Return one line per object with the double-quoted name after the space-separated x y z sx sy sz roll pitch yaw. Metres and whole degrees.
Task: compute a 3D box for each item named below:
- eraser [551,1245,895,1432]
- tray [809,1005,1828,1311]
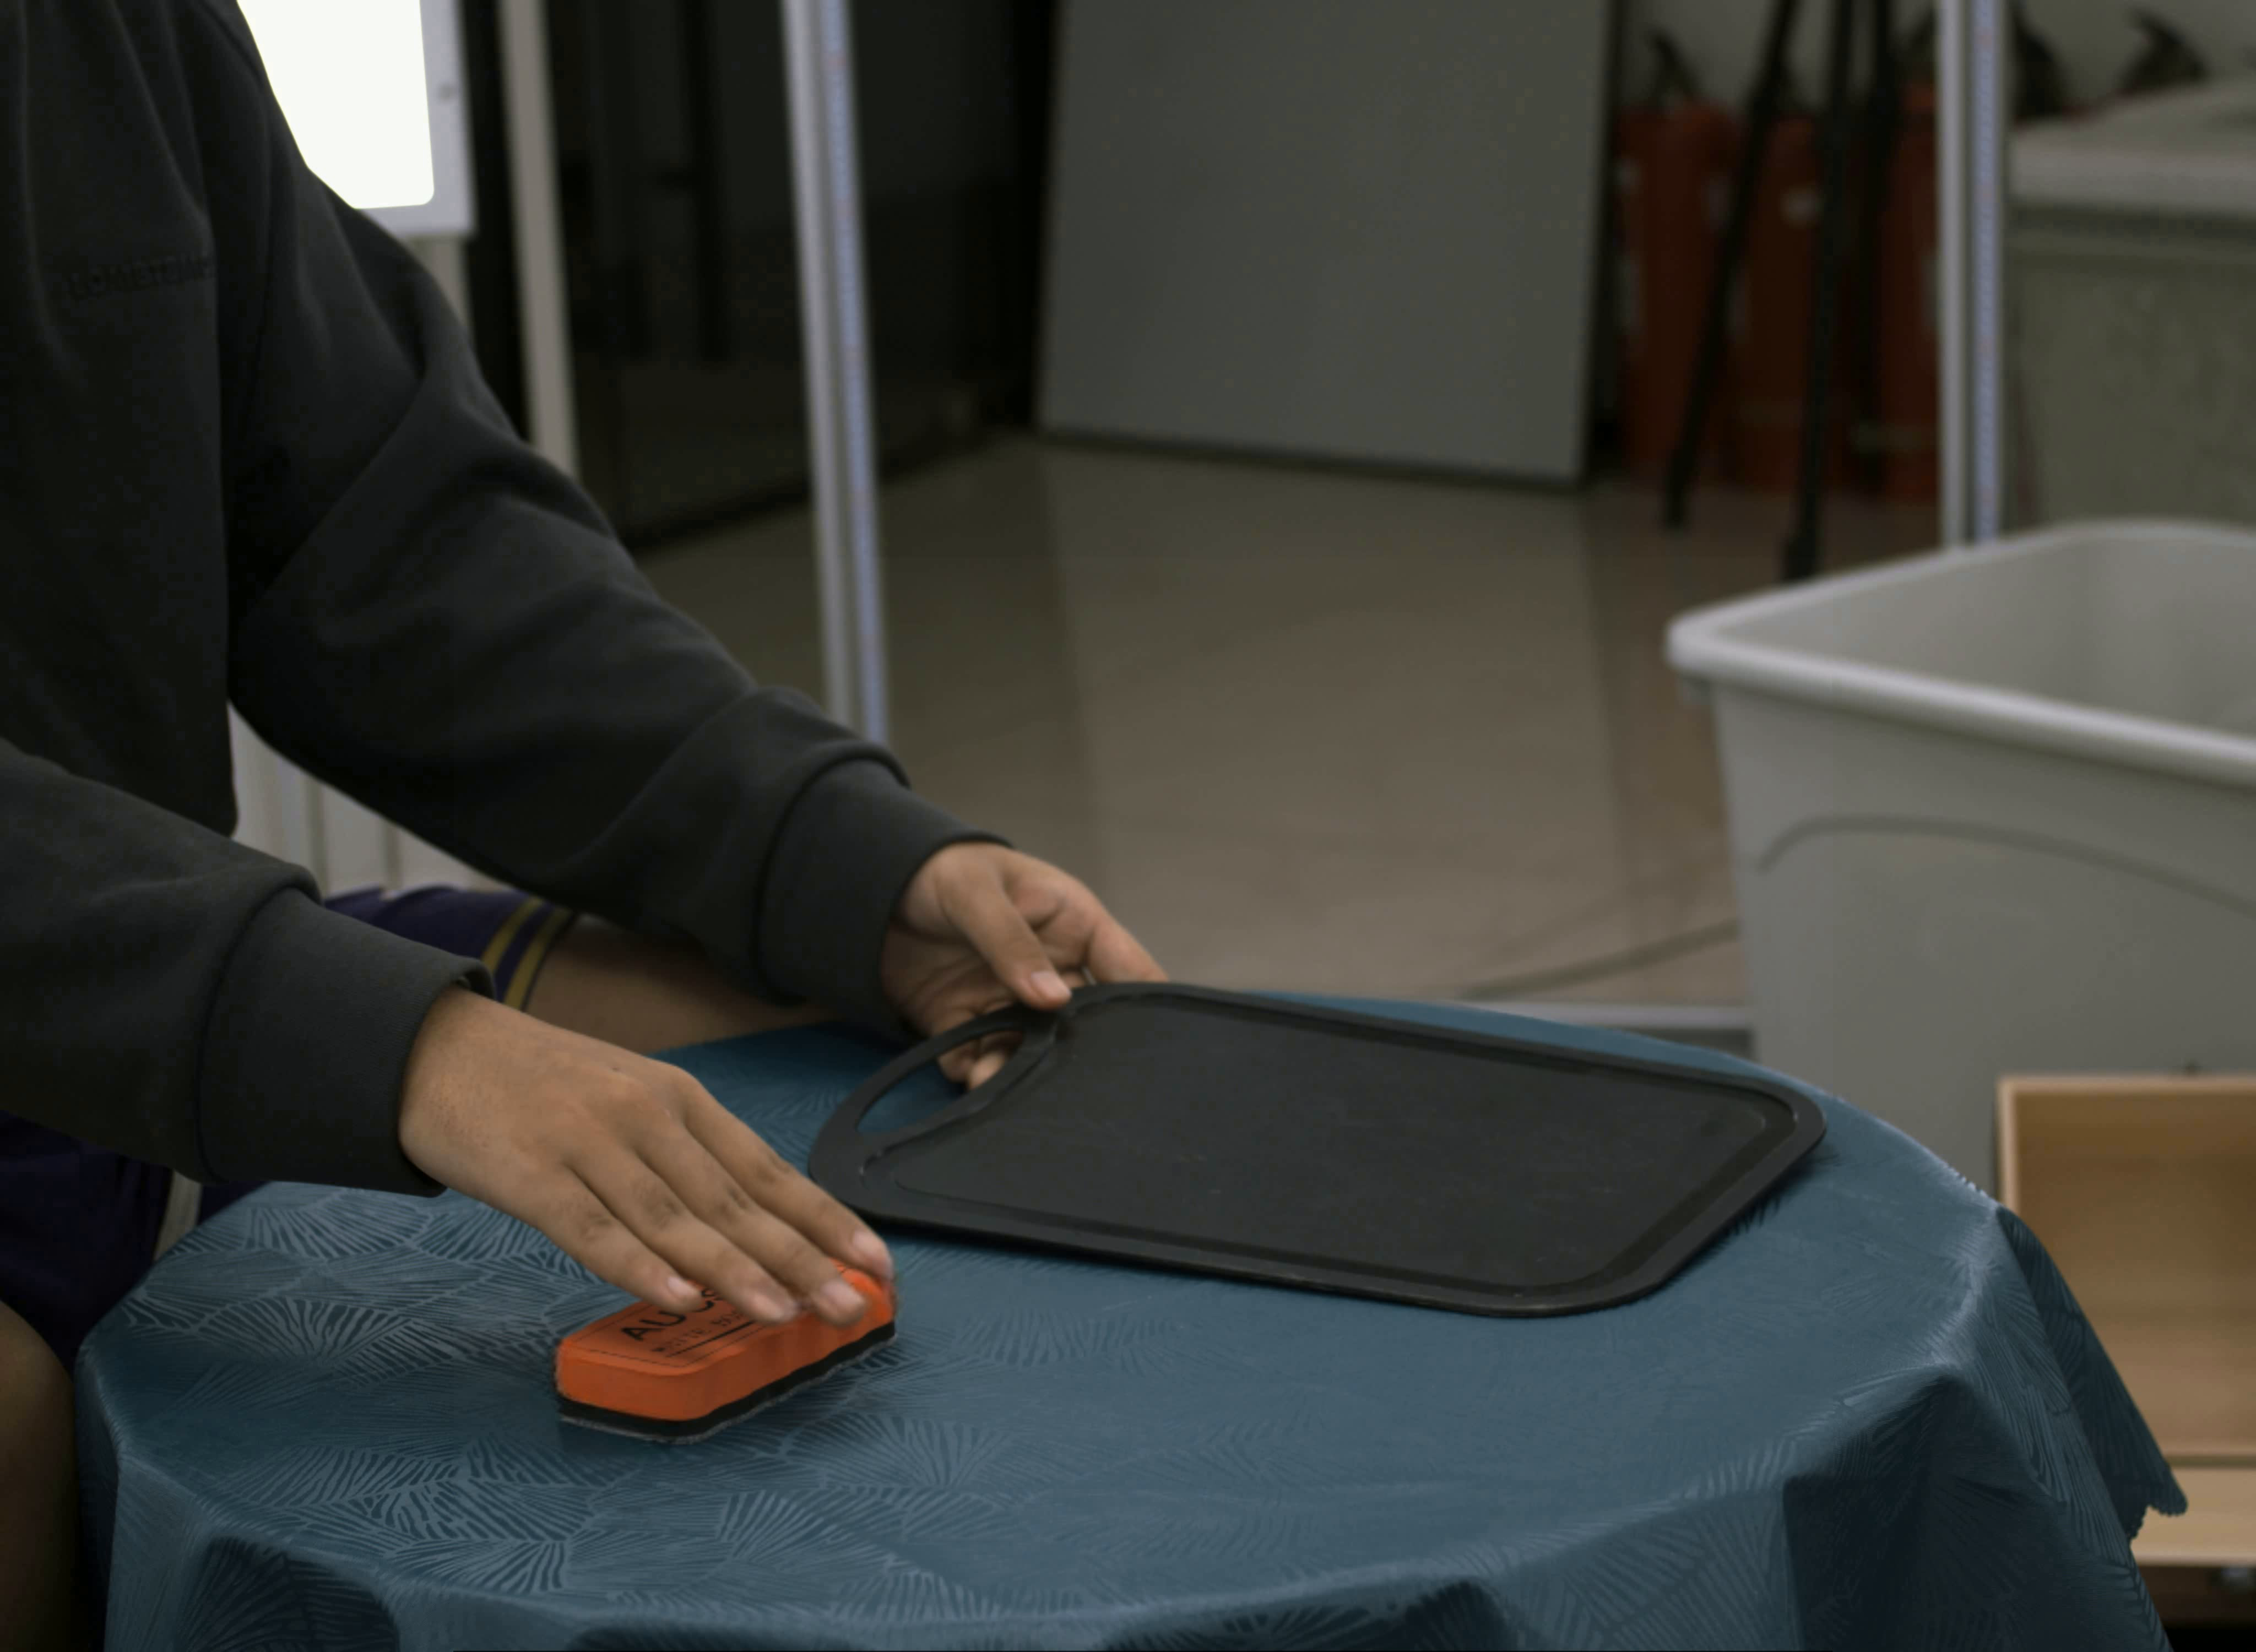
-0.120 0.152 1.614 0.059 0.023 0.106 6 15 35 "eraser"
0.054 0.104 1.771 0.327 0.010 0.208 6 21 31 "tray"
